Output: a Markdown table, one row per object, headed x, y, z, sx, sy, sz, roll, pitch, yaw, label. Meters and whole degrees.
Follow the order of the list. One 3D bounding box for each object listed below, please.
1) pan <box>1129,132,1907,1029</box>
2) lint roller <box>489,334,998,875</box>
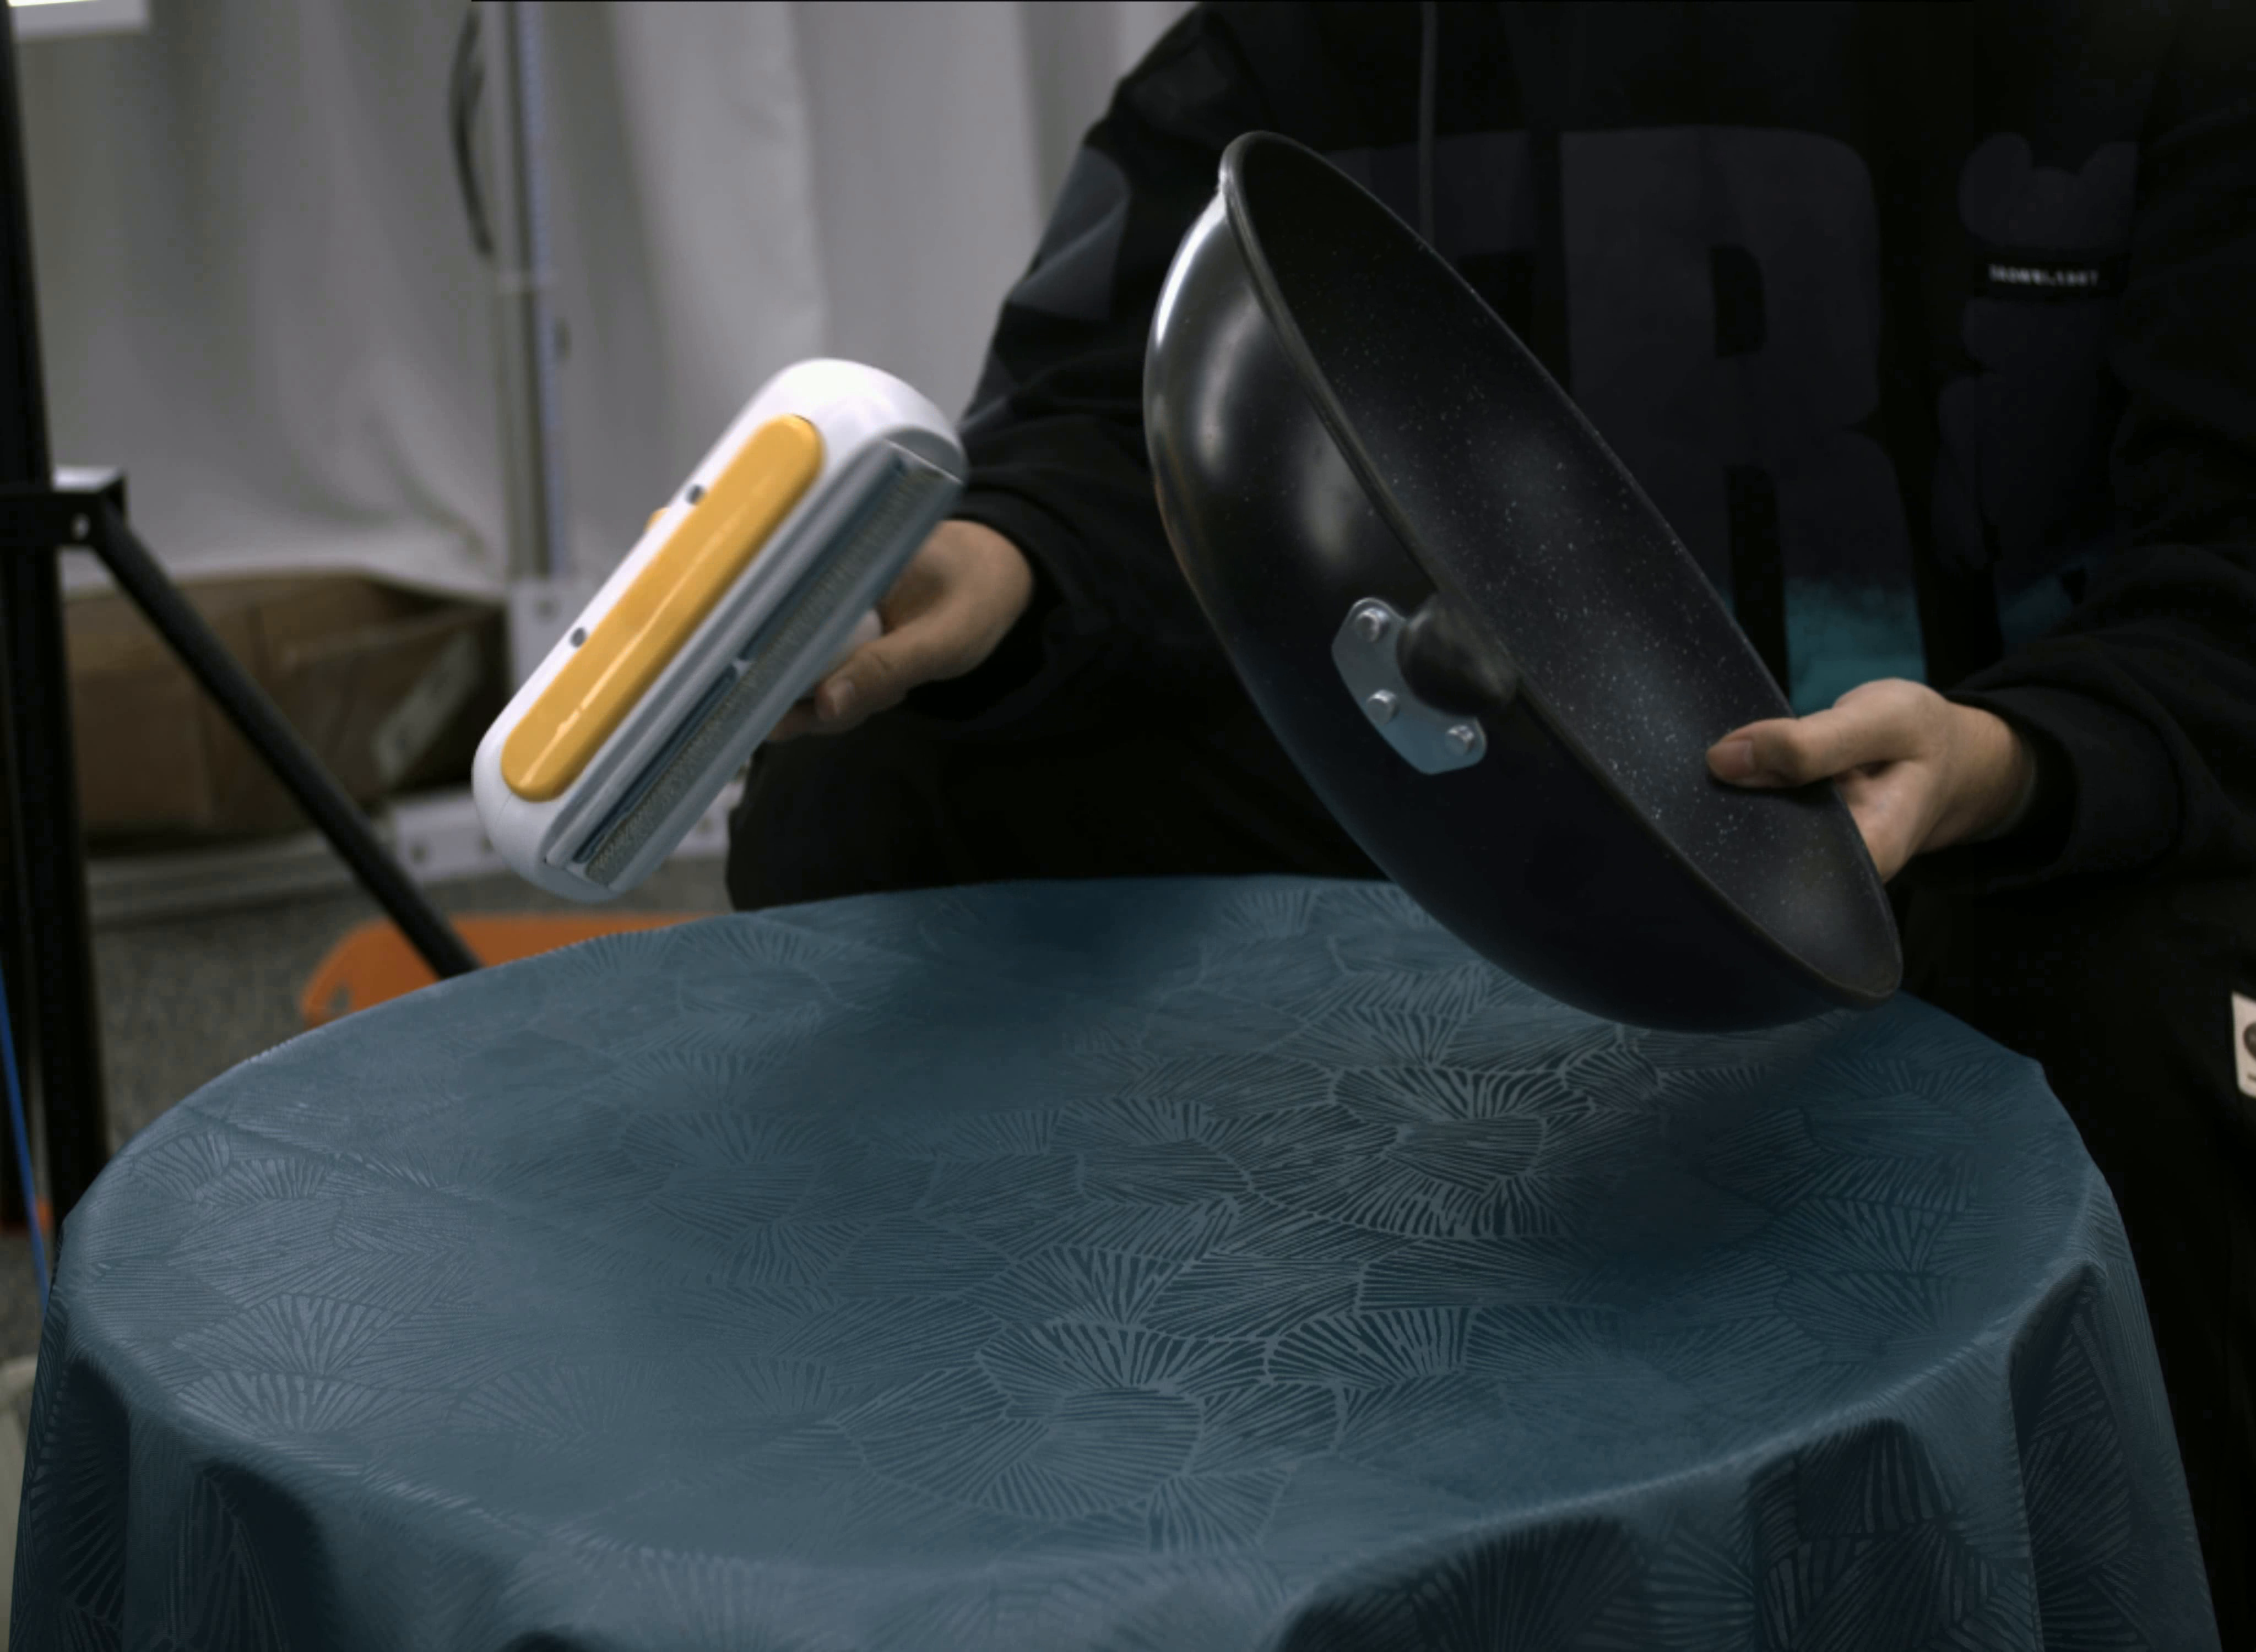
| x | y | z | sx | sy | sz | roll | pitch | yaw | label |
| --- | --- | --- | --- | --- | --- | --- | --- | --- | --- |
| 0.086 | -0.046 | 1.449 | 0.112 | 0.311 | 0.472 | -39 | -1 | 16 | pan |
| -0.105 | -0.061 | 1.692 | 0.075 | 0.193 | 0.189 | 41 | 5 | 23 | lint roller |
